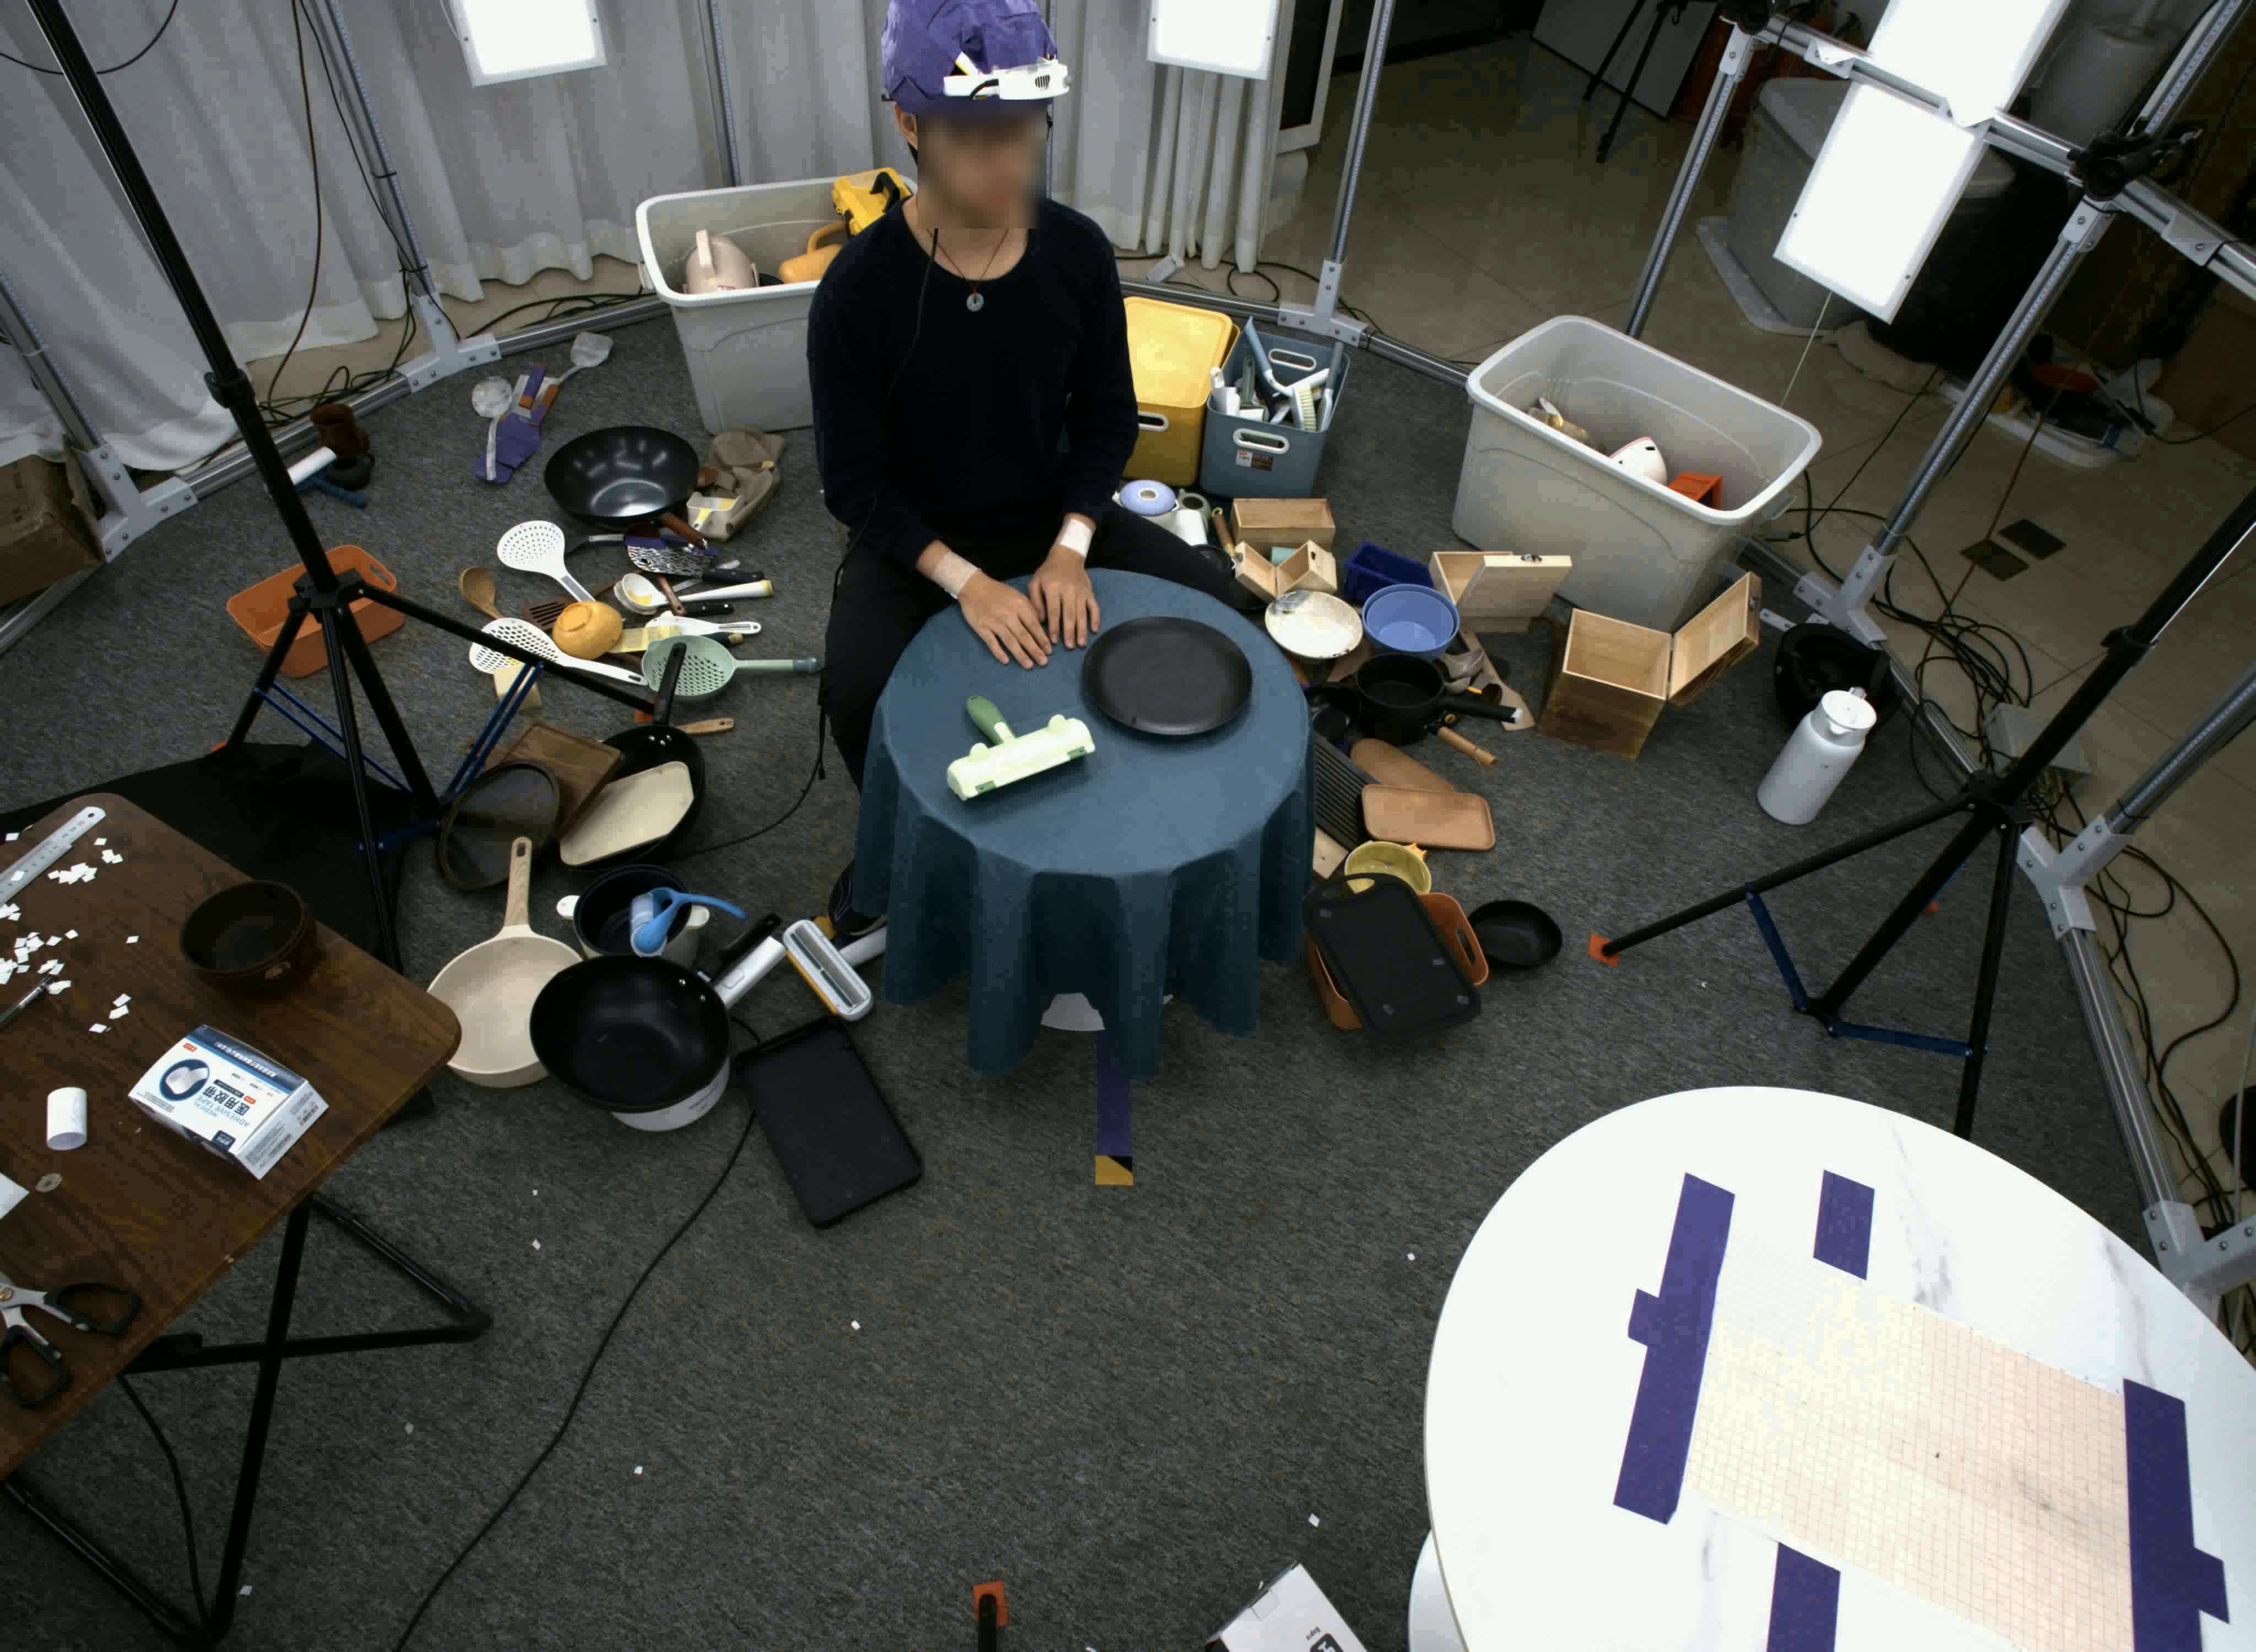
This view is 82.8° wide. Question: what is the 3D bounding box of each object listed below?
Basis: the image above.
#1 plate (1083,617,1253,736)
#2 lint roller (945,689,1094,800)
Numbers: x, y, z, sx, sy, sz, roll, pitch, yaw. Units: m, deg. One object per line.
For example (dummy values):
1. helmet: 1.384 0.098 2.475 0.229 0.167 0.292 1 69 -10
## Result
1. plate: 0.057 -0.212 1.841 0.244 0.023 0.250 2 49 -2
2. lint roller: -0.170 -0.136 1.720 0.199 0.080 0.187 -22 60 -23
